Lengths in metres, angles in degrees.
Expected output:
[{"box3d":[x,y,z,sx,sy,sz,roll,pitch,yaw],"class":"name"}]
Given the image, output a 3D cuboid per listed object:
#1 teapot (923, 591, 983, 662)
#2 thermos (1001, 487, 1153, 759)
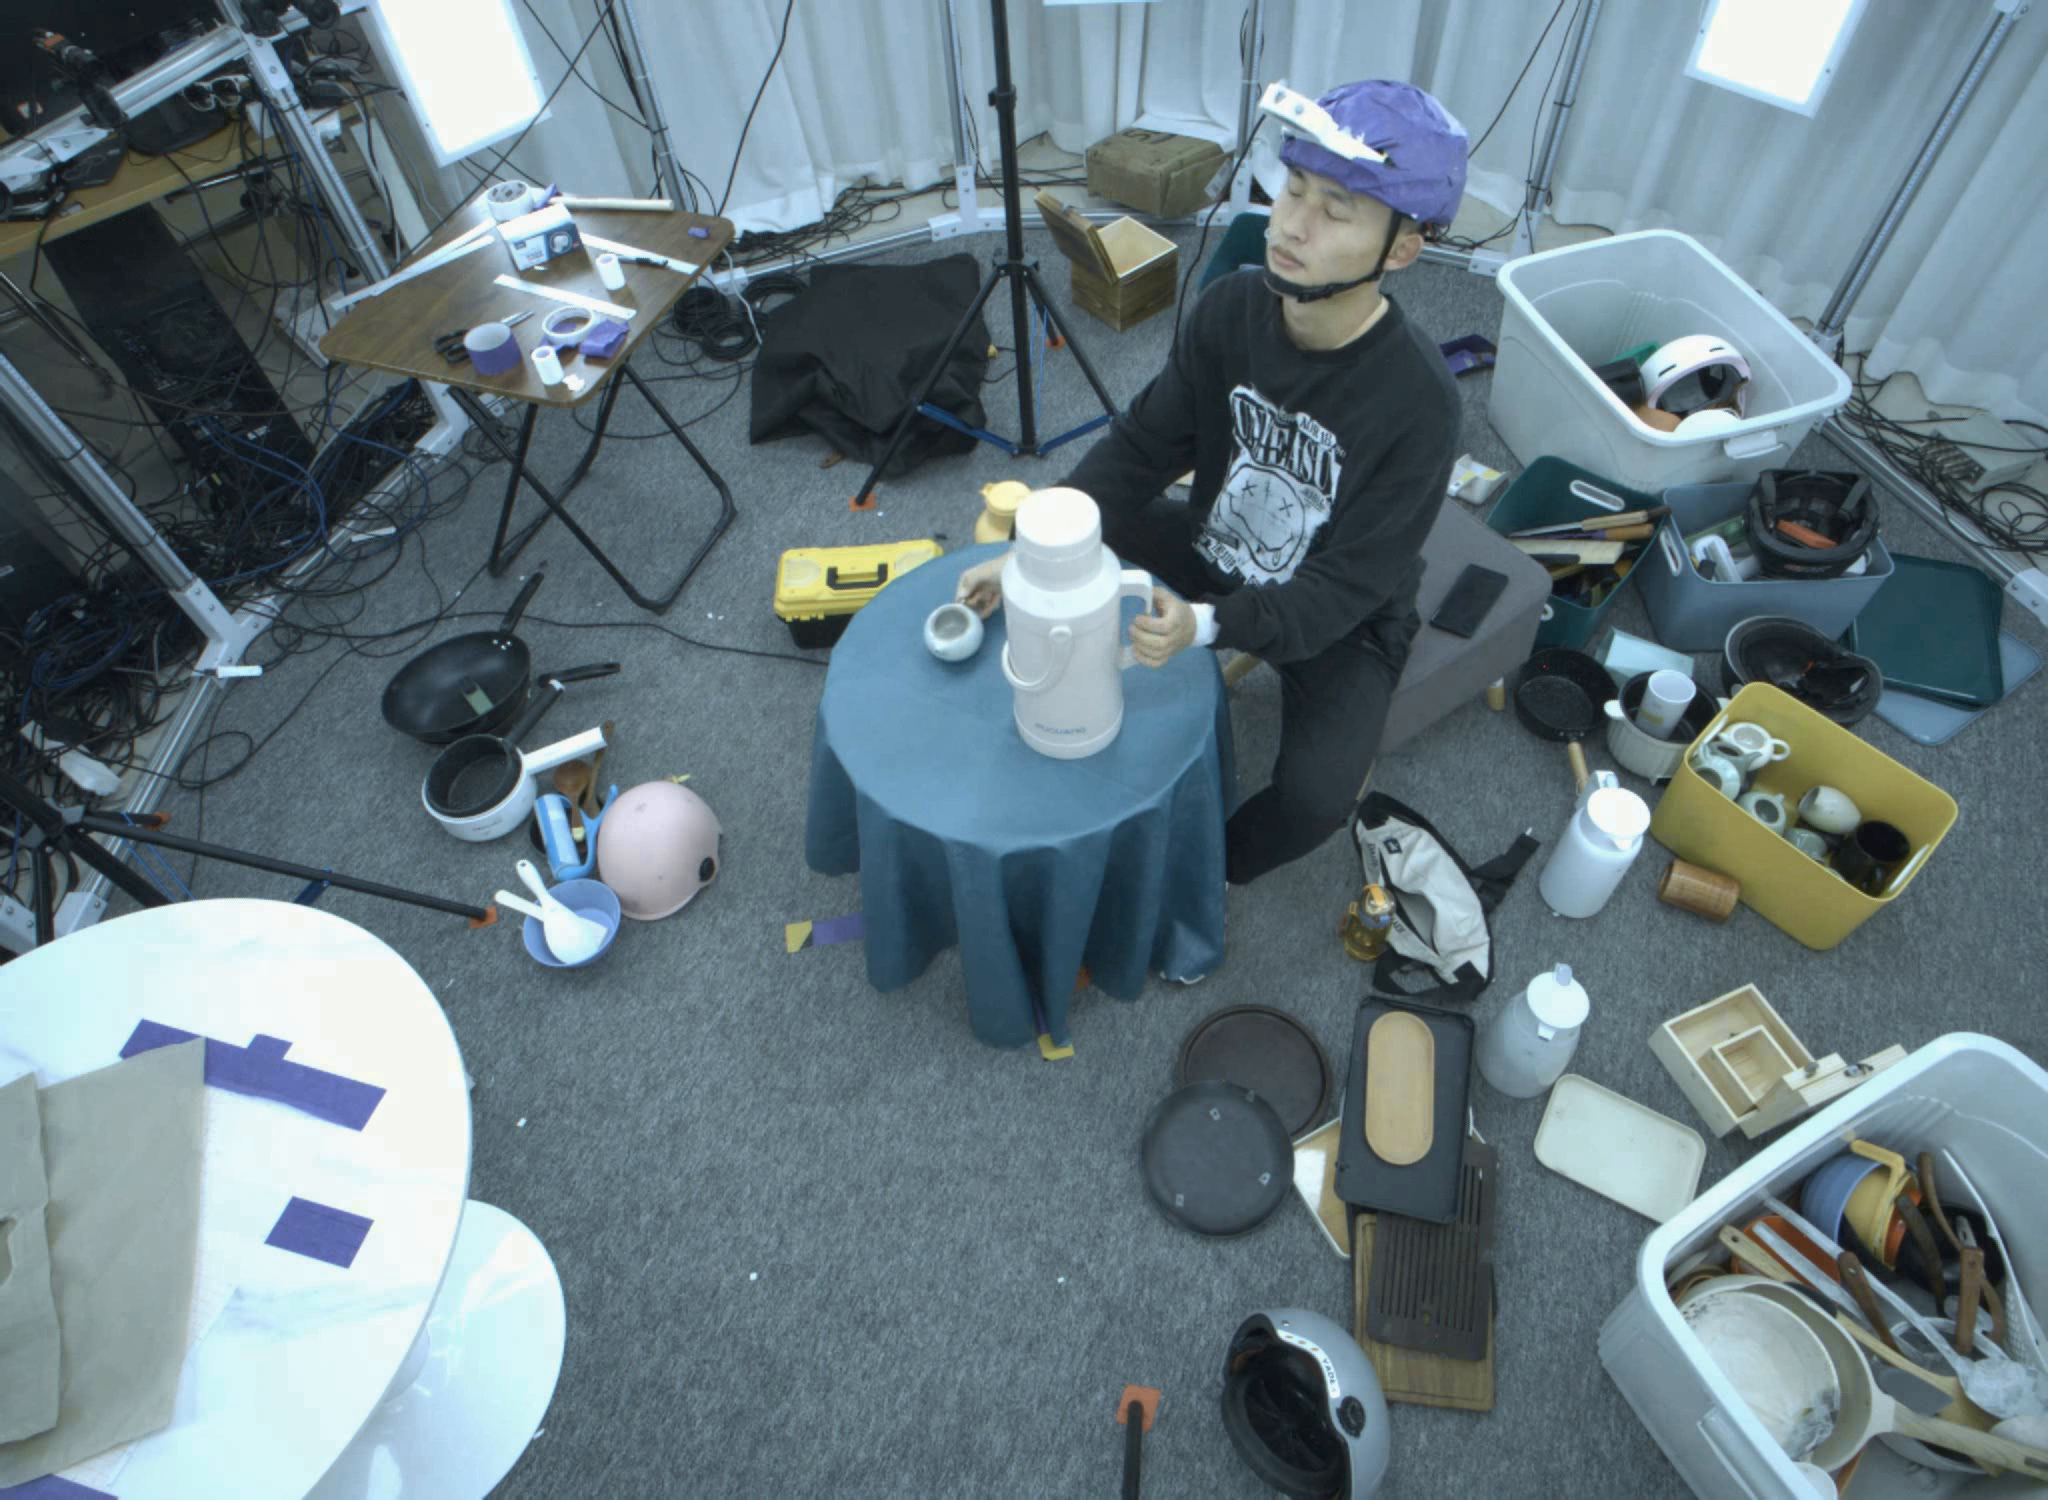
[{"box3d":[-0.105,-0.187,1.877,0.091,0.060,0.128,15,68,16],"class":"teapot"},{"box3d":[0.069,-0.166,1.654,0.207,0.411,0.173,-2,53,3],"class":"thermos"}]
